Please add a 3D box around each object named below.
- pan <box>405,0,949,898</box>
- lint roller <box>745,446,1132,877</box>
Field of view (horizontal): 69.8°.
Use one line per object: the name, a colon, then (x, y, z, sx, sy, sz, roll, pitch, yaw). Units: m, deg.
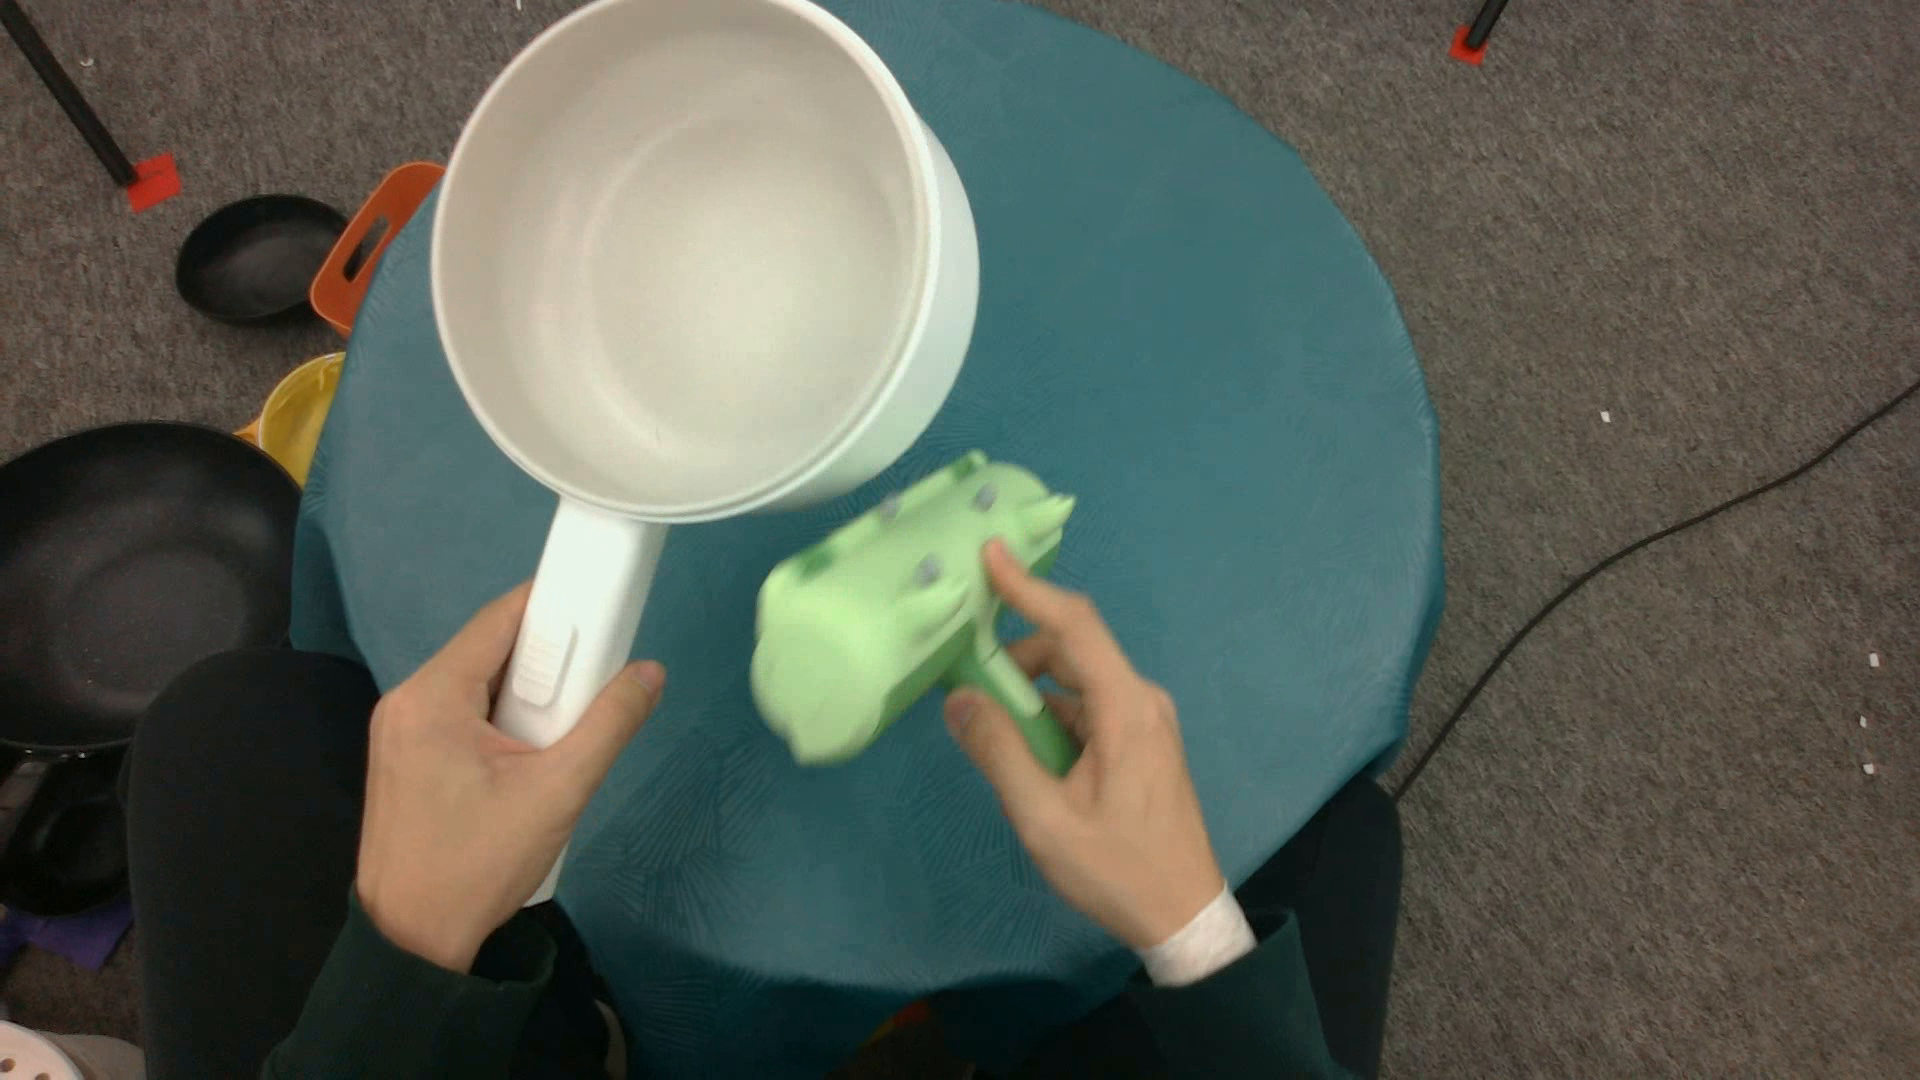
pan: (-0.126, -0.037, 0.554, 0.201, 0.102, 0.354, 17, 95, 14)
lint roller: (0.022, 0.050, 0.551, 0.183, 0.082, 0.199, 46, 27, 3)
